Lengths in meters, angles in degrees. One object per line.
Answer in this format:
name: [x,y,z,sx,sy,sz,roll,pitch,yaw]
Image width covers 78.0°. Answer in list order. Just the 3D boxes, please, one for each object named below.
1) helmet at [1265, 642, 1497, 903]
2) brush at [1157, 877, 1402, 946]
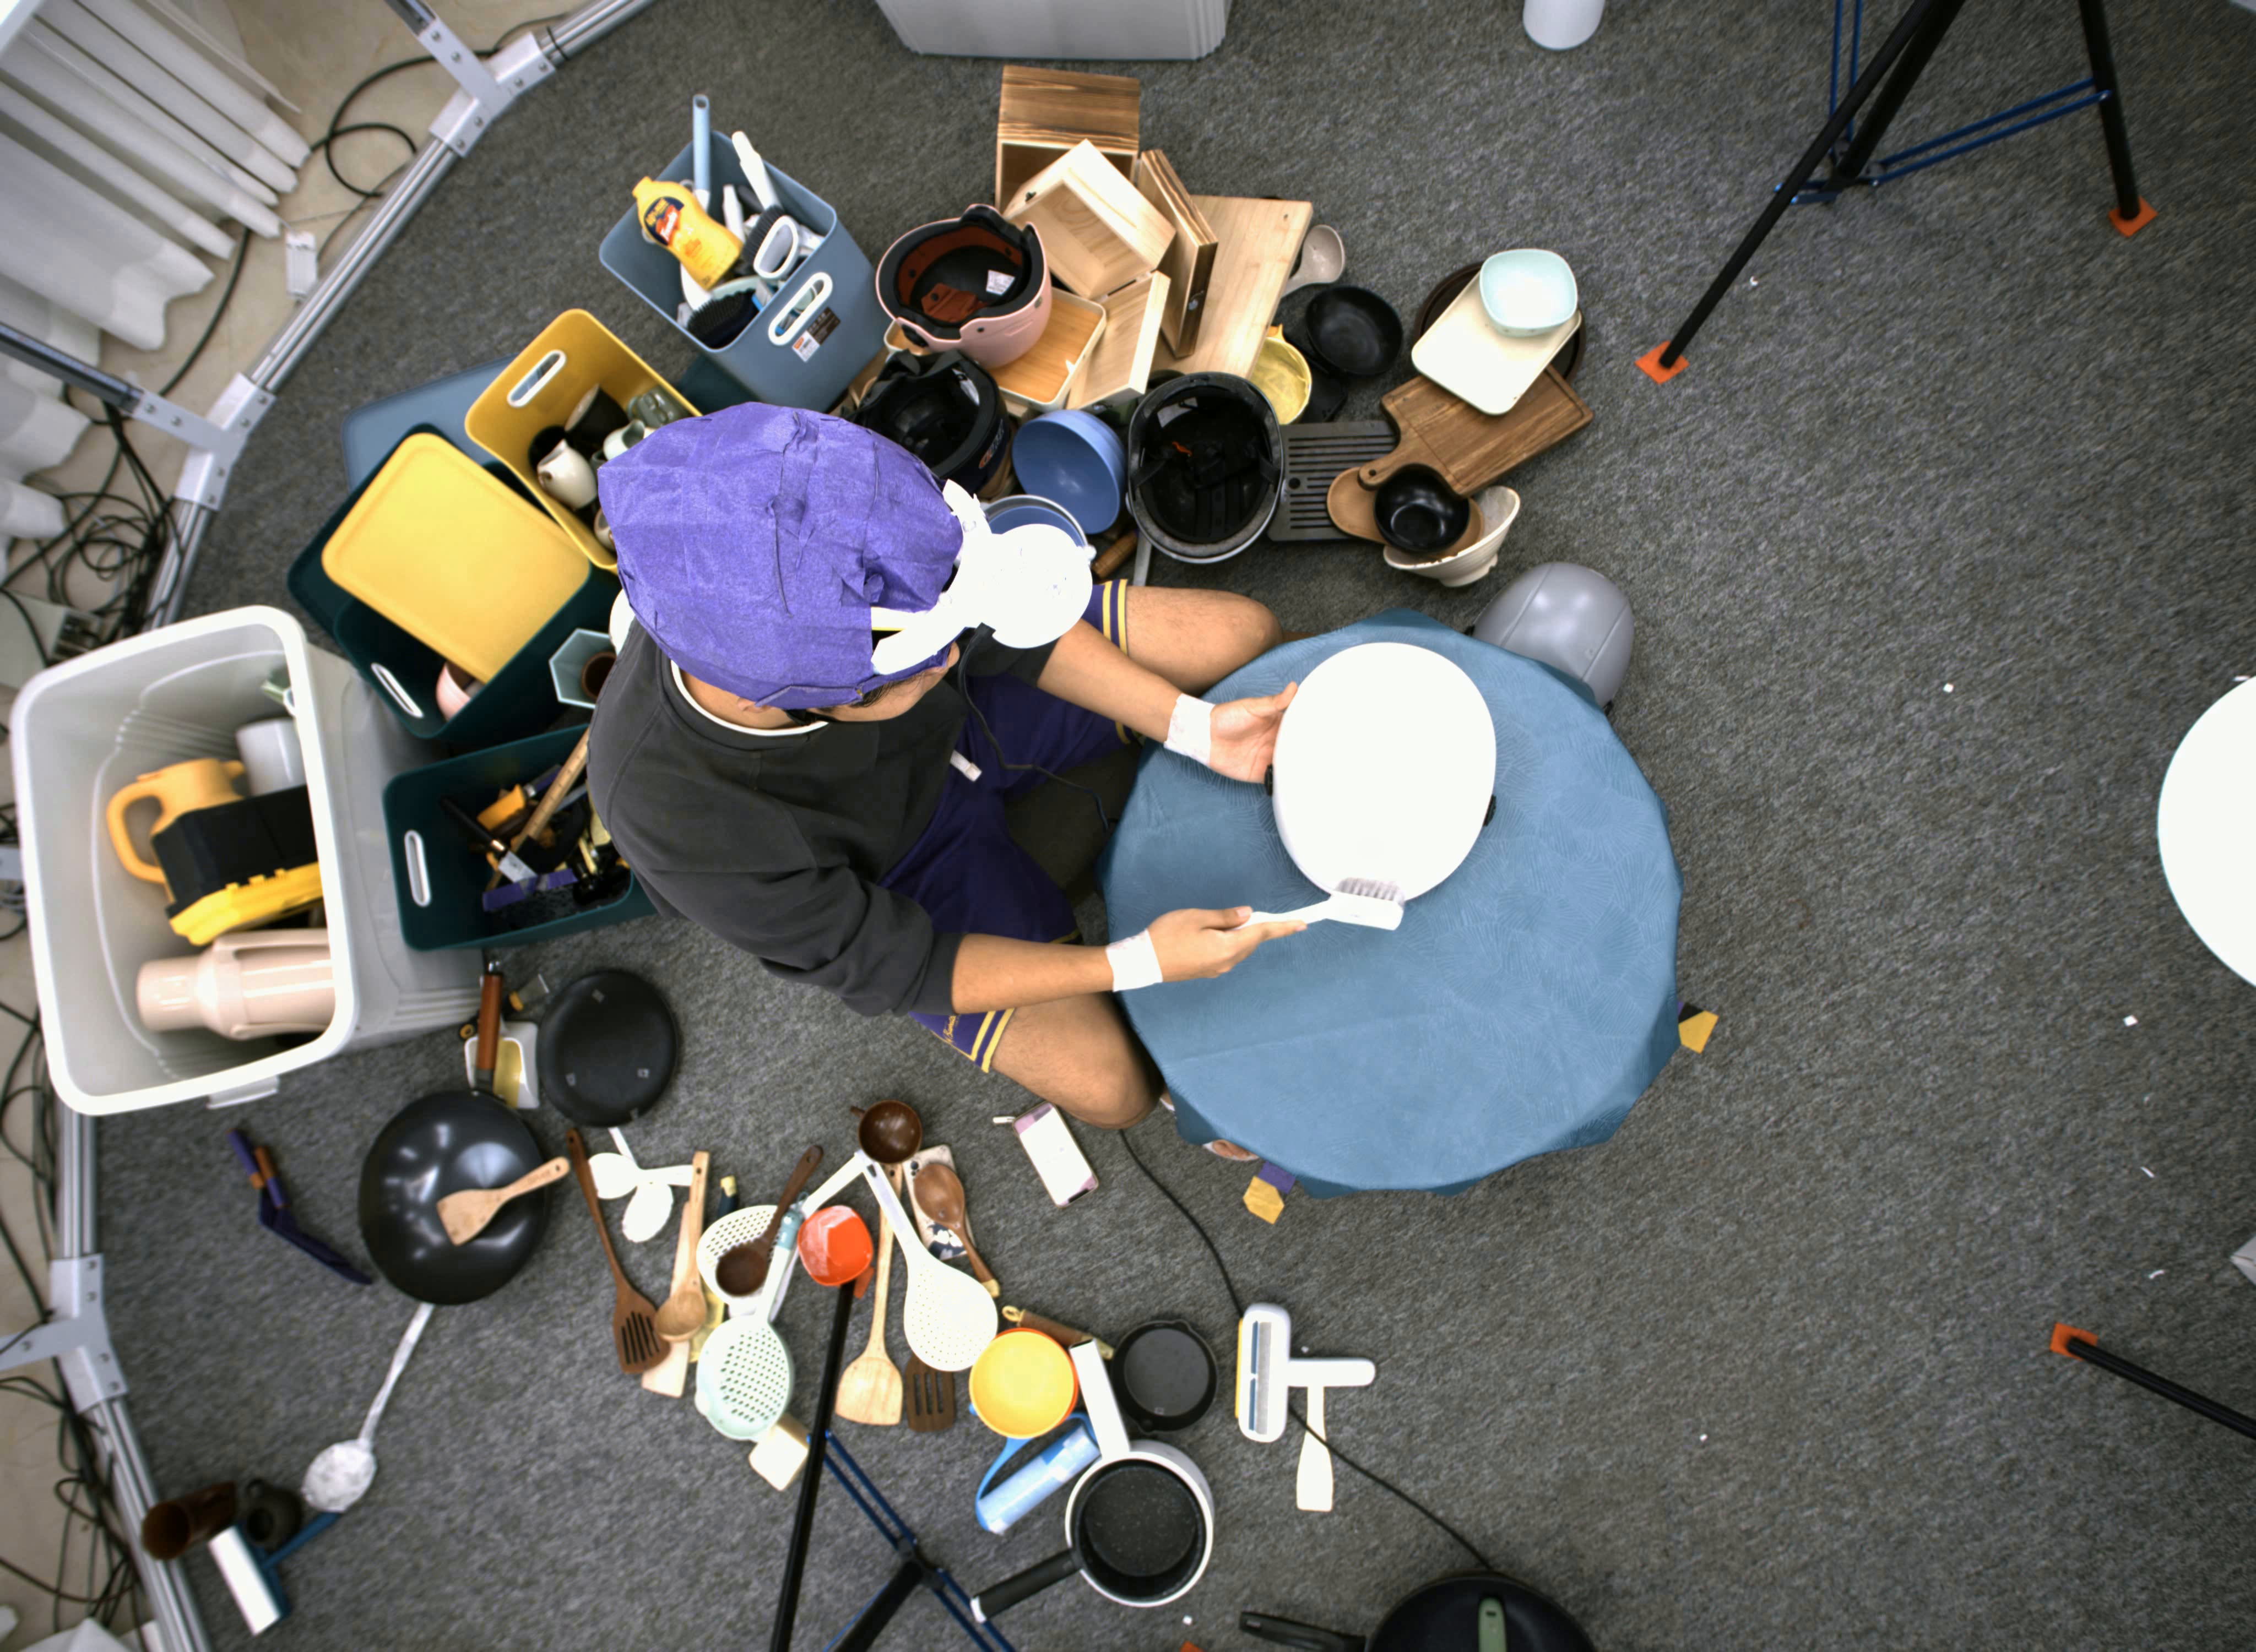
helmet: [0.259,-0.059,1.382,0.237,0.167,0.268,10,88,8]
brush: [0.150,0.083,1.372,0.245,0.035,0.049,-6,53,9]
